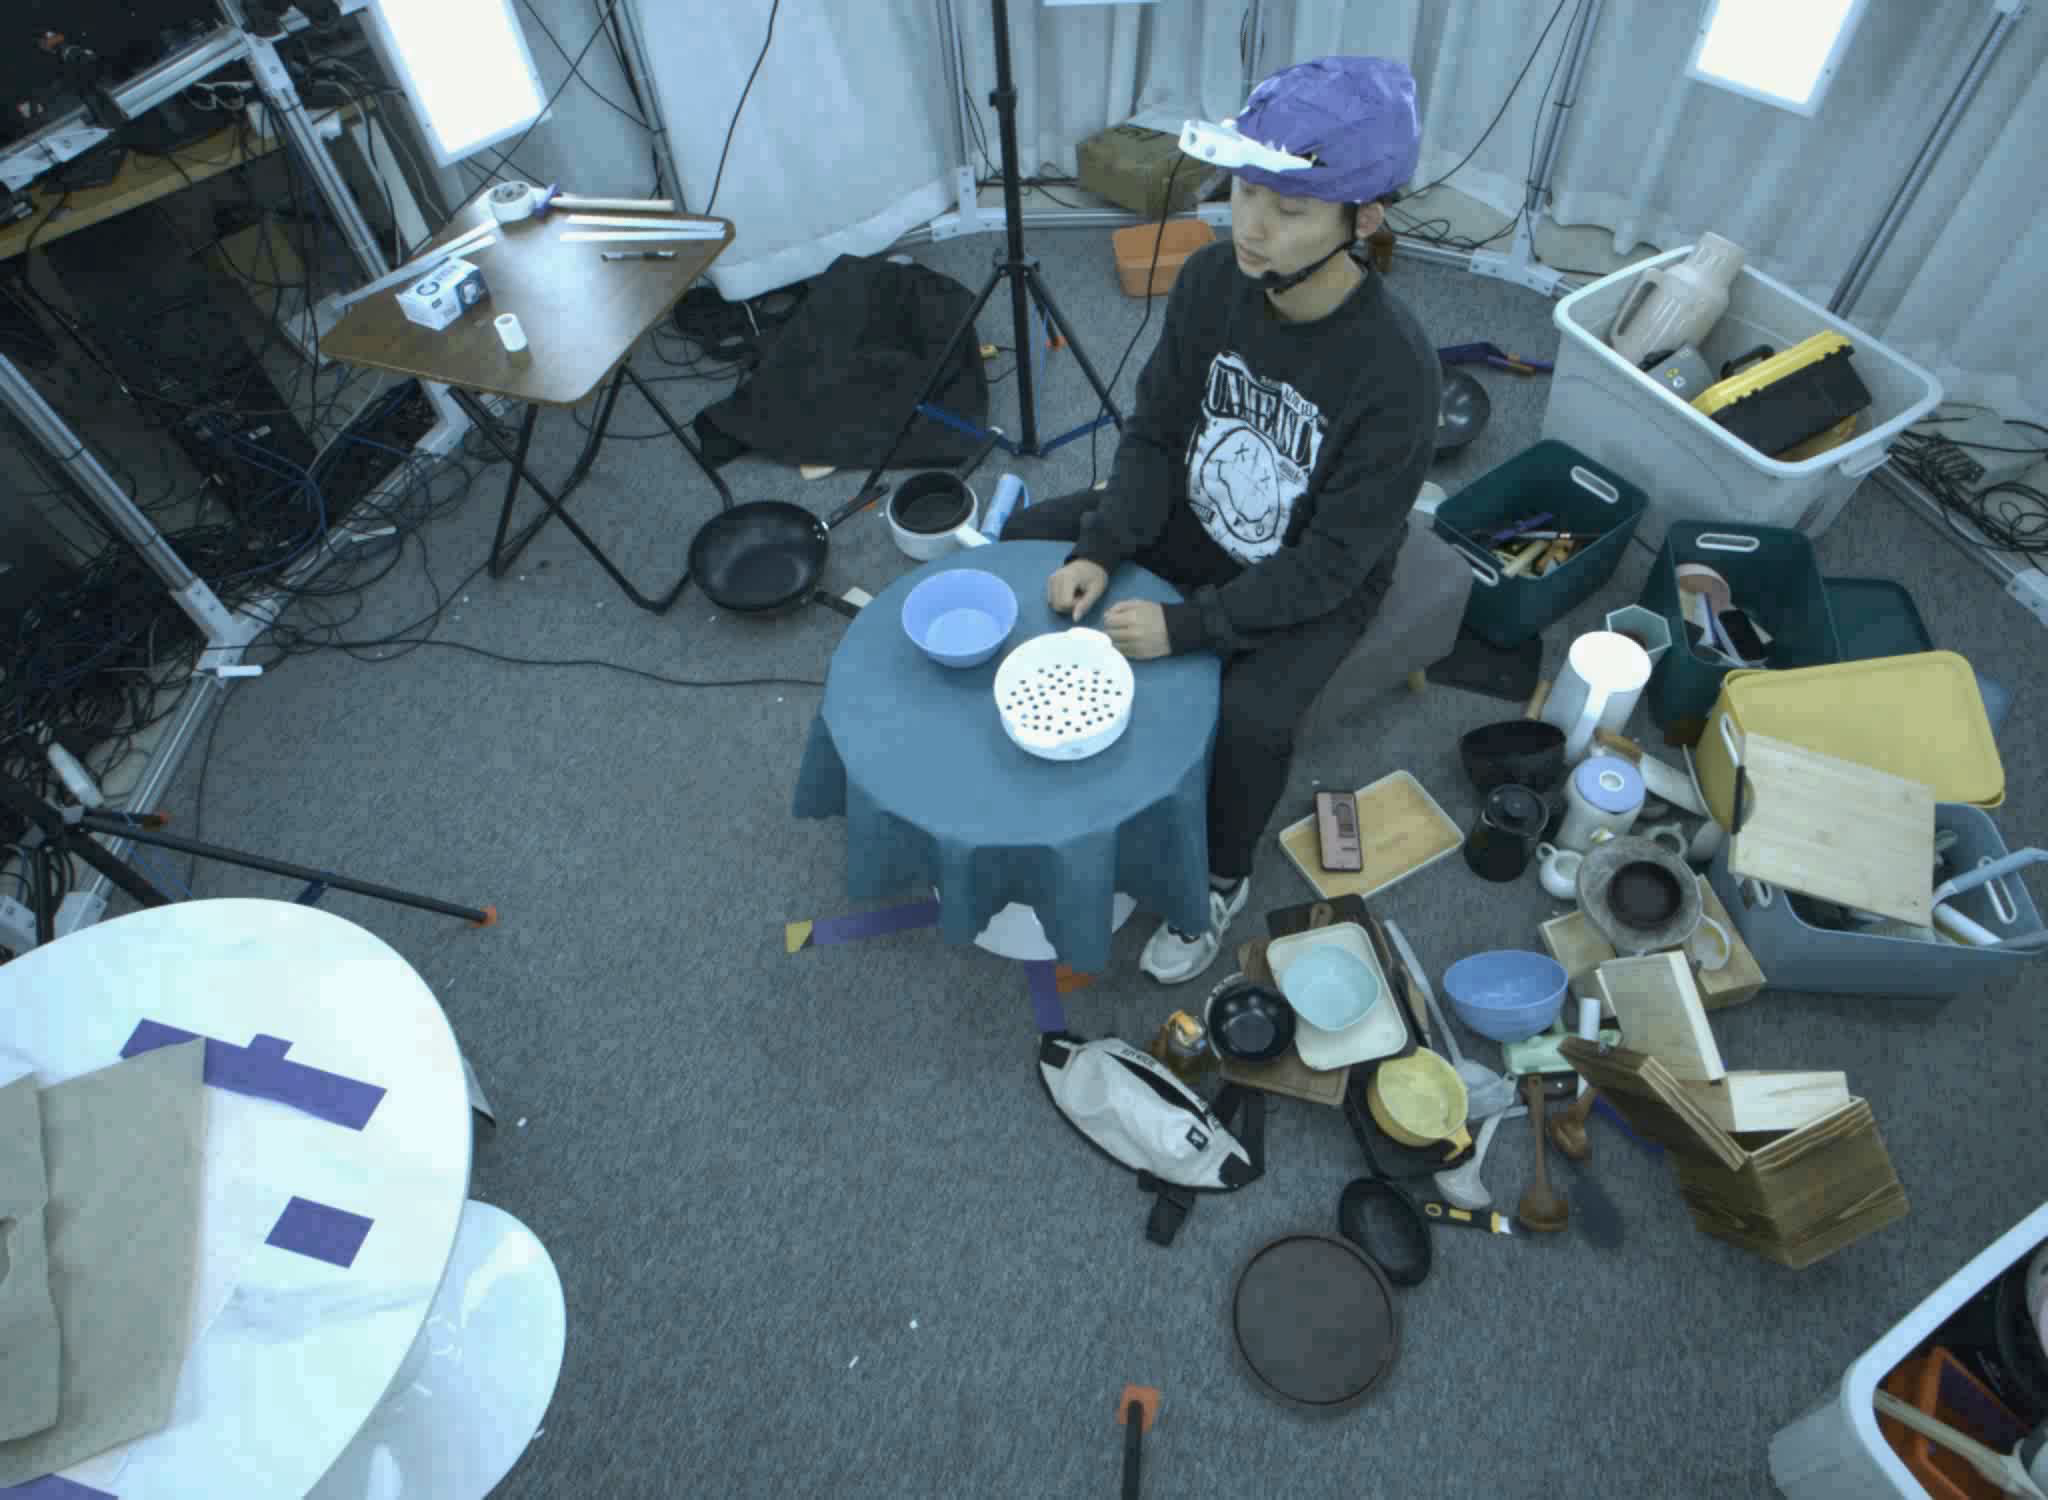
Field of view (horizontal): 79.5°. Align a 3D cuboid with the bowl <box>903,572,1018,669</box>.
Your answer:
[{"bbox_3d":[-0.096,-0.189,1.890,0.176,0.071,0.174,0,55,1],"label":"bowl"}]

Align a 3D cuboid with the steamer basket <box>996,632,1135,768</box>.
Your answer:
[{"bbox_3d":[0.061,-0.068,1.802,0.200,0.070,0.230,17,59,14],"label":"steamer basket"}]
